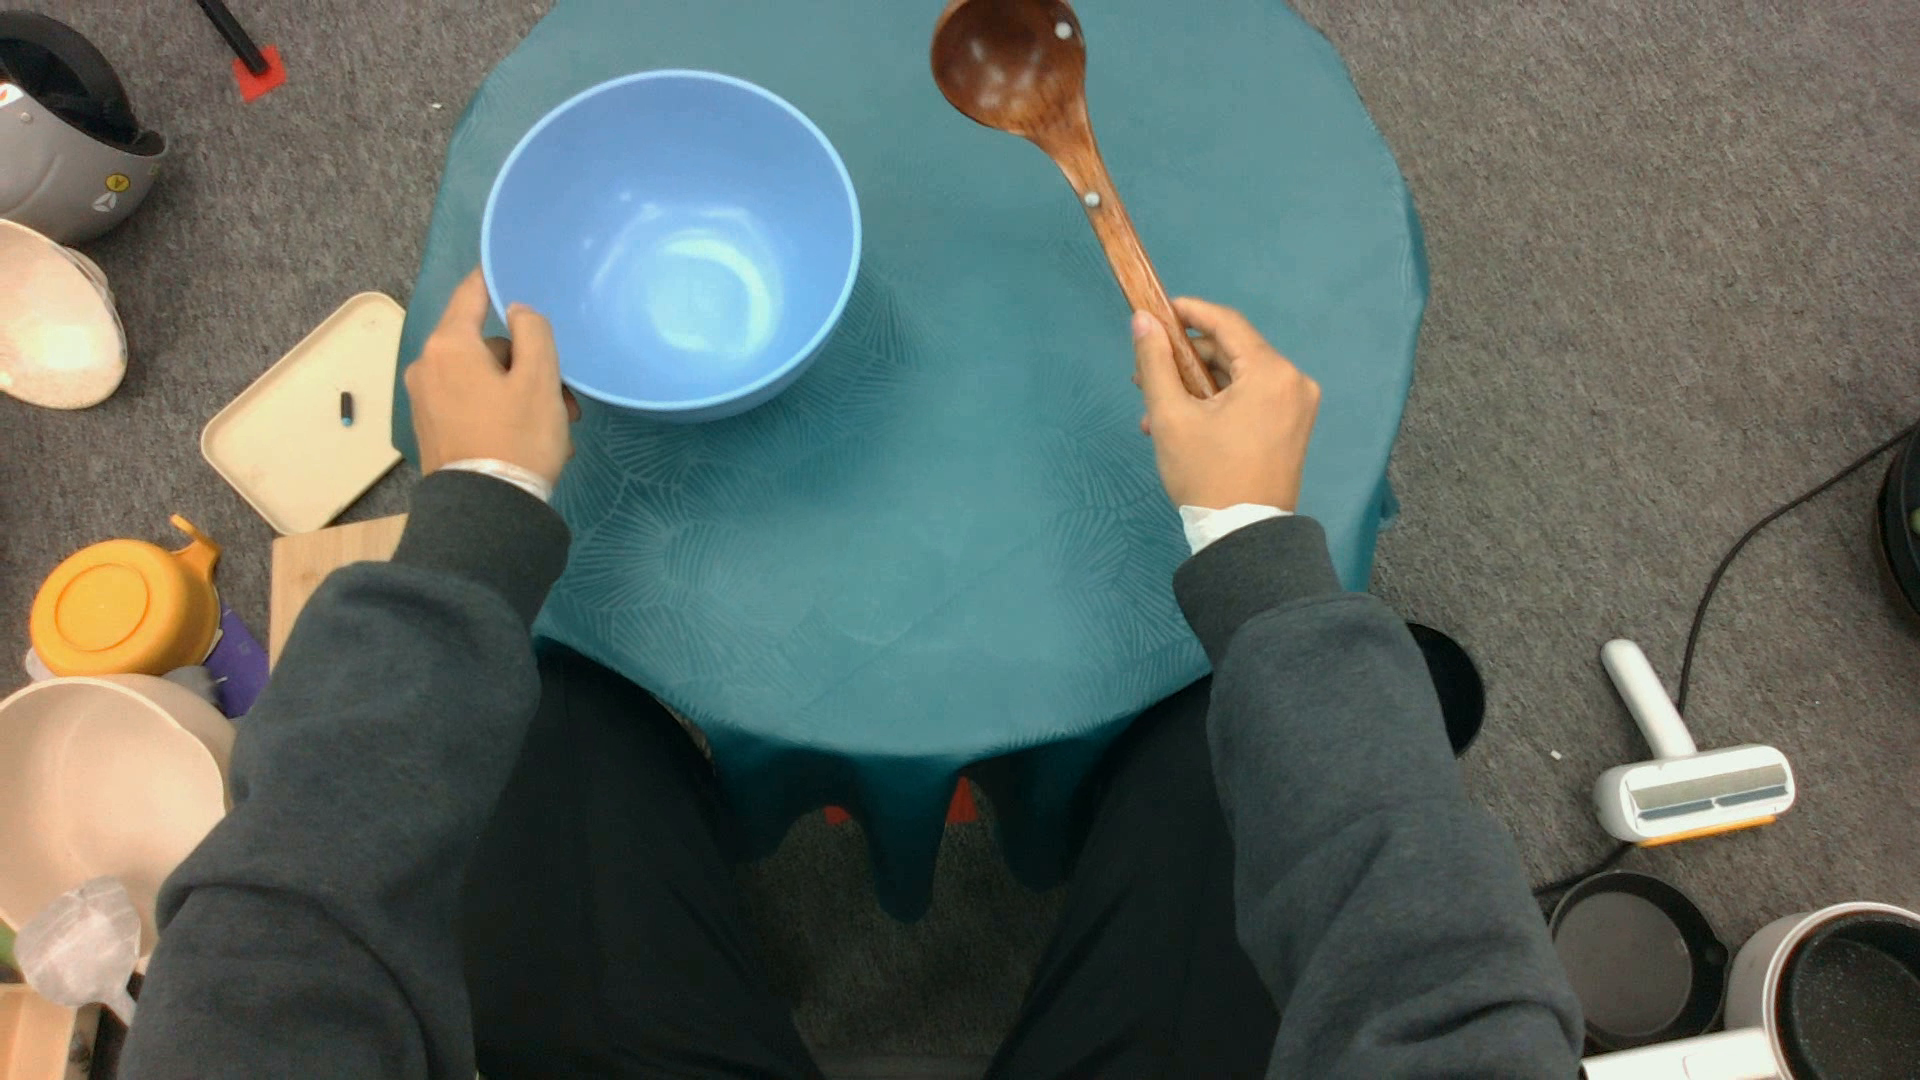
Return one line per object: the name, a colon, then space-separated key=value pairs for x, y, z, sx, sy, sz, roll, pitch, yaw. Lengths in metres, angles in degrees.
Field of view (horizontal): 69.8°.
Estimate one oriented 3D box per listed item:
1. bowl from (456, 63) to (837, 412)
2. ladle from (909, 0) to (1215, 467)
bowl: x=-0.166 y=-0.152 z=0.763 sx=0.196 sy=0.095 sz=0.197 roll=1 pitch=73 yaw=-3
ladle: x=0.057 y=-0.164 z=0.703 sx=0.081 sy=0.077 sz=0.274 roll=-29 pitch=78 yaw=31
